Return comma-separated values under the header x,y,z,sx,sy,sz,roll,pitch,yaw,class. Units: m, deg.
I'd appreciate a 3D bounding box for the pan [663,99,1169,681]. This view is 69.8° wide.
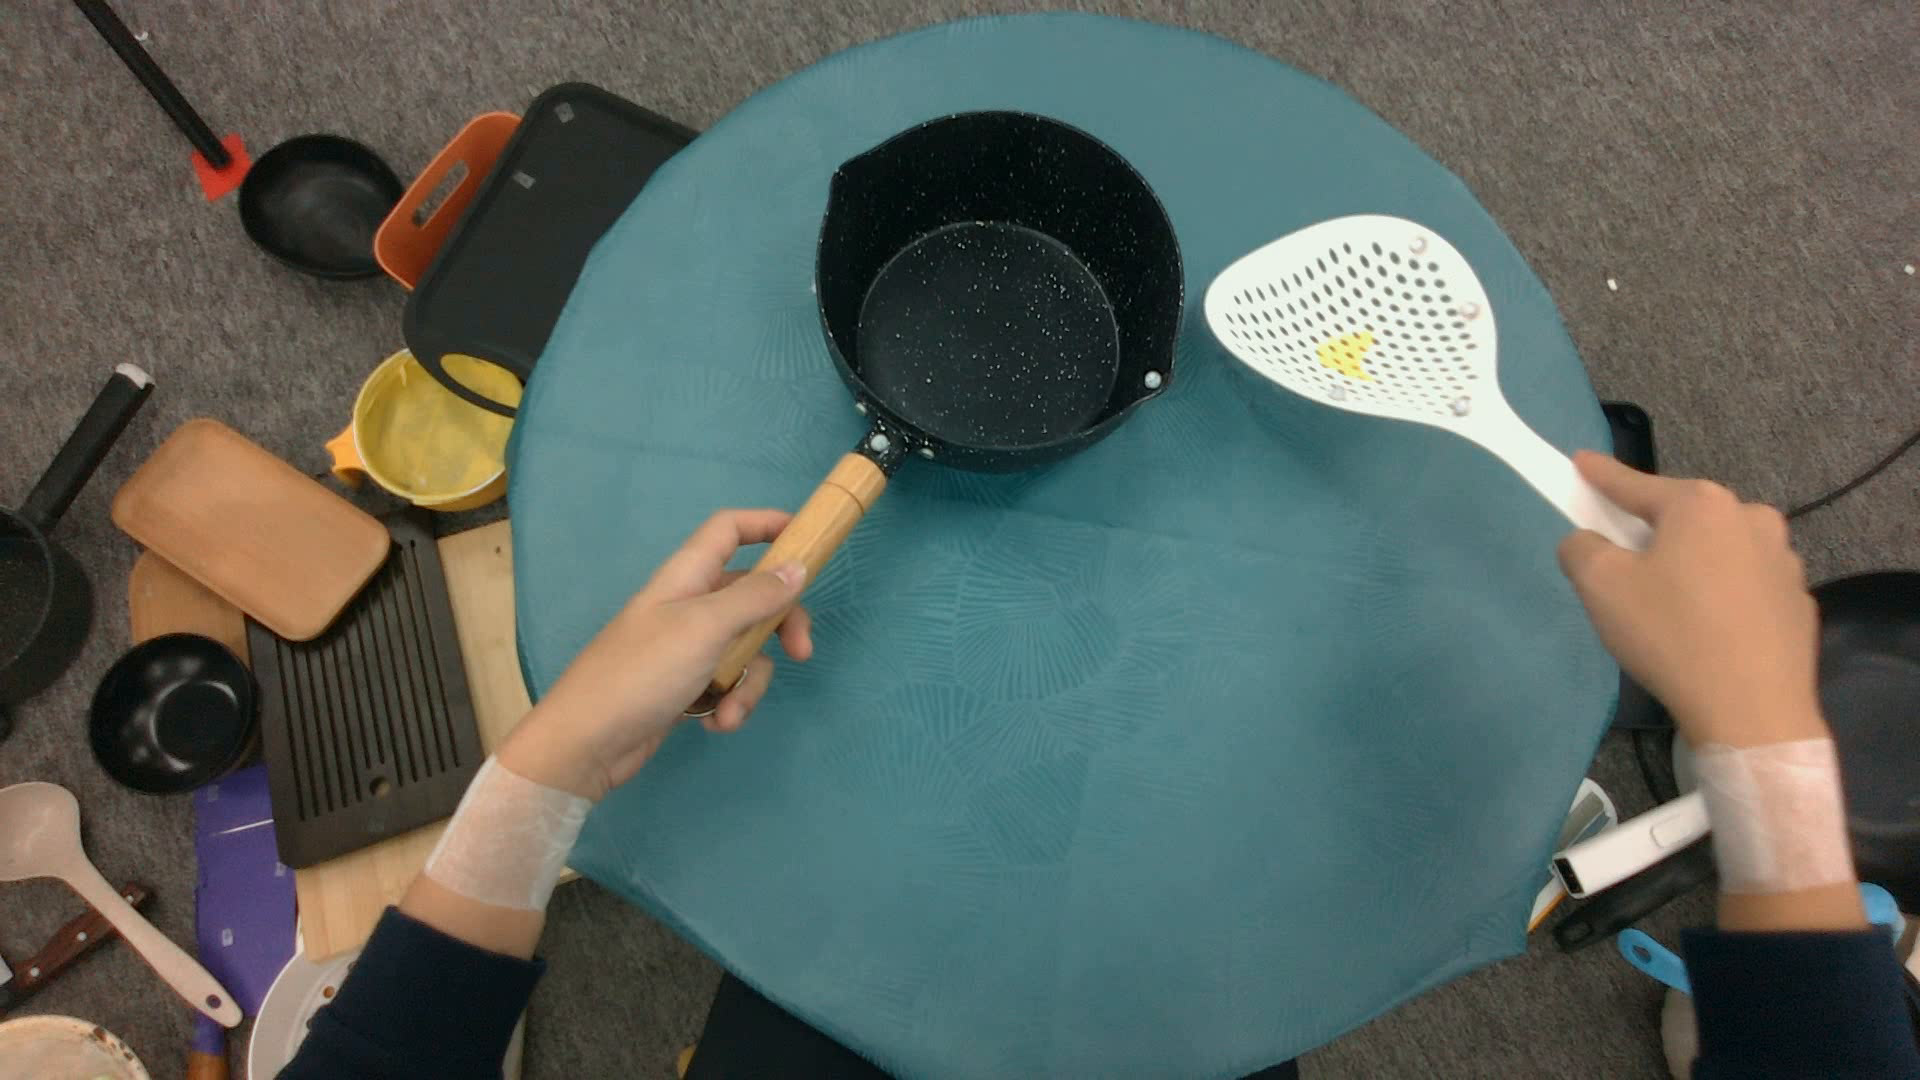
x,y,z,sx,sy,sz,roll,pitch,yaw,class
-0.031,-0.065,0.689,0.207,0.108,0.344,32,73,4,pan

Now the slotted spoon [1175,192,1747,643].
x,y,z,sx,sy,sz,roll,pitch,yaw,class
0.235,-0.070,0.674,0.137,0.050,0.348,-26,43,-10,slotted spoon
